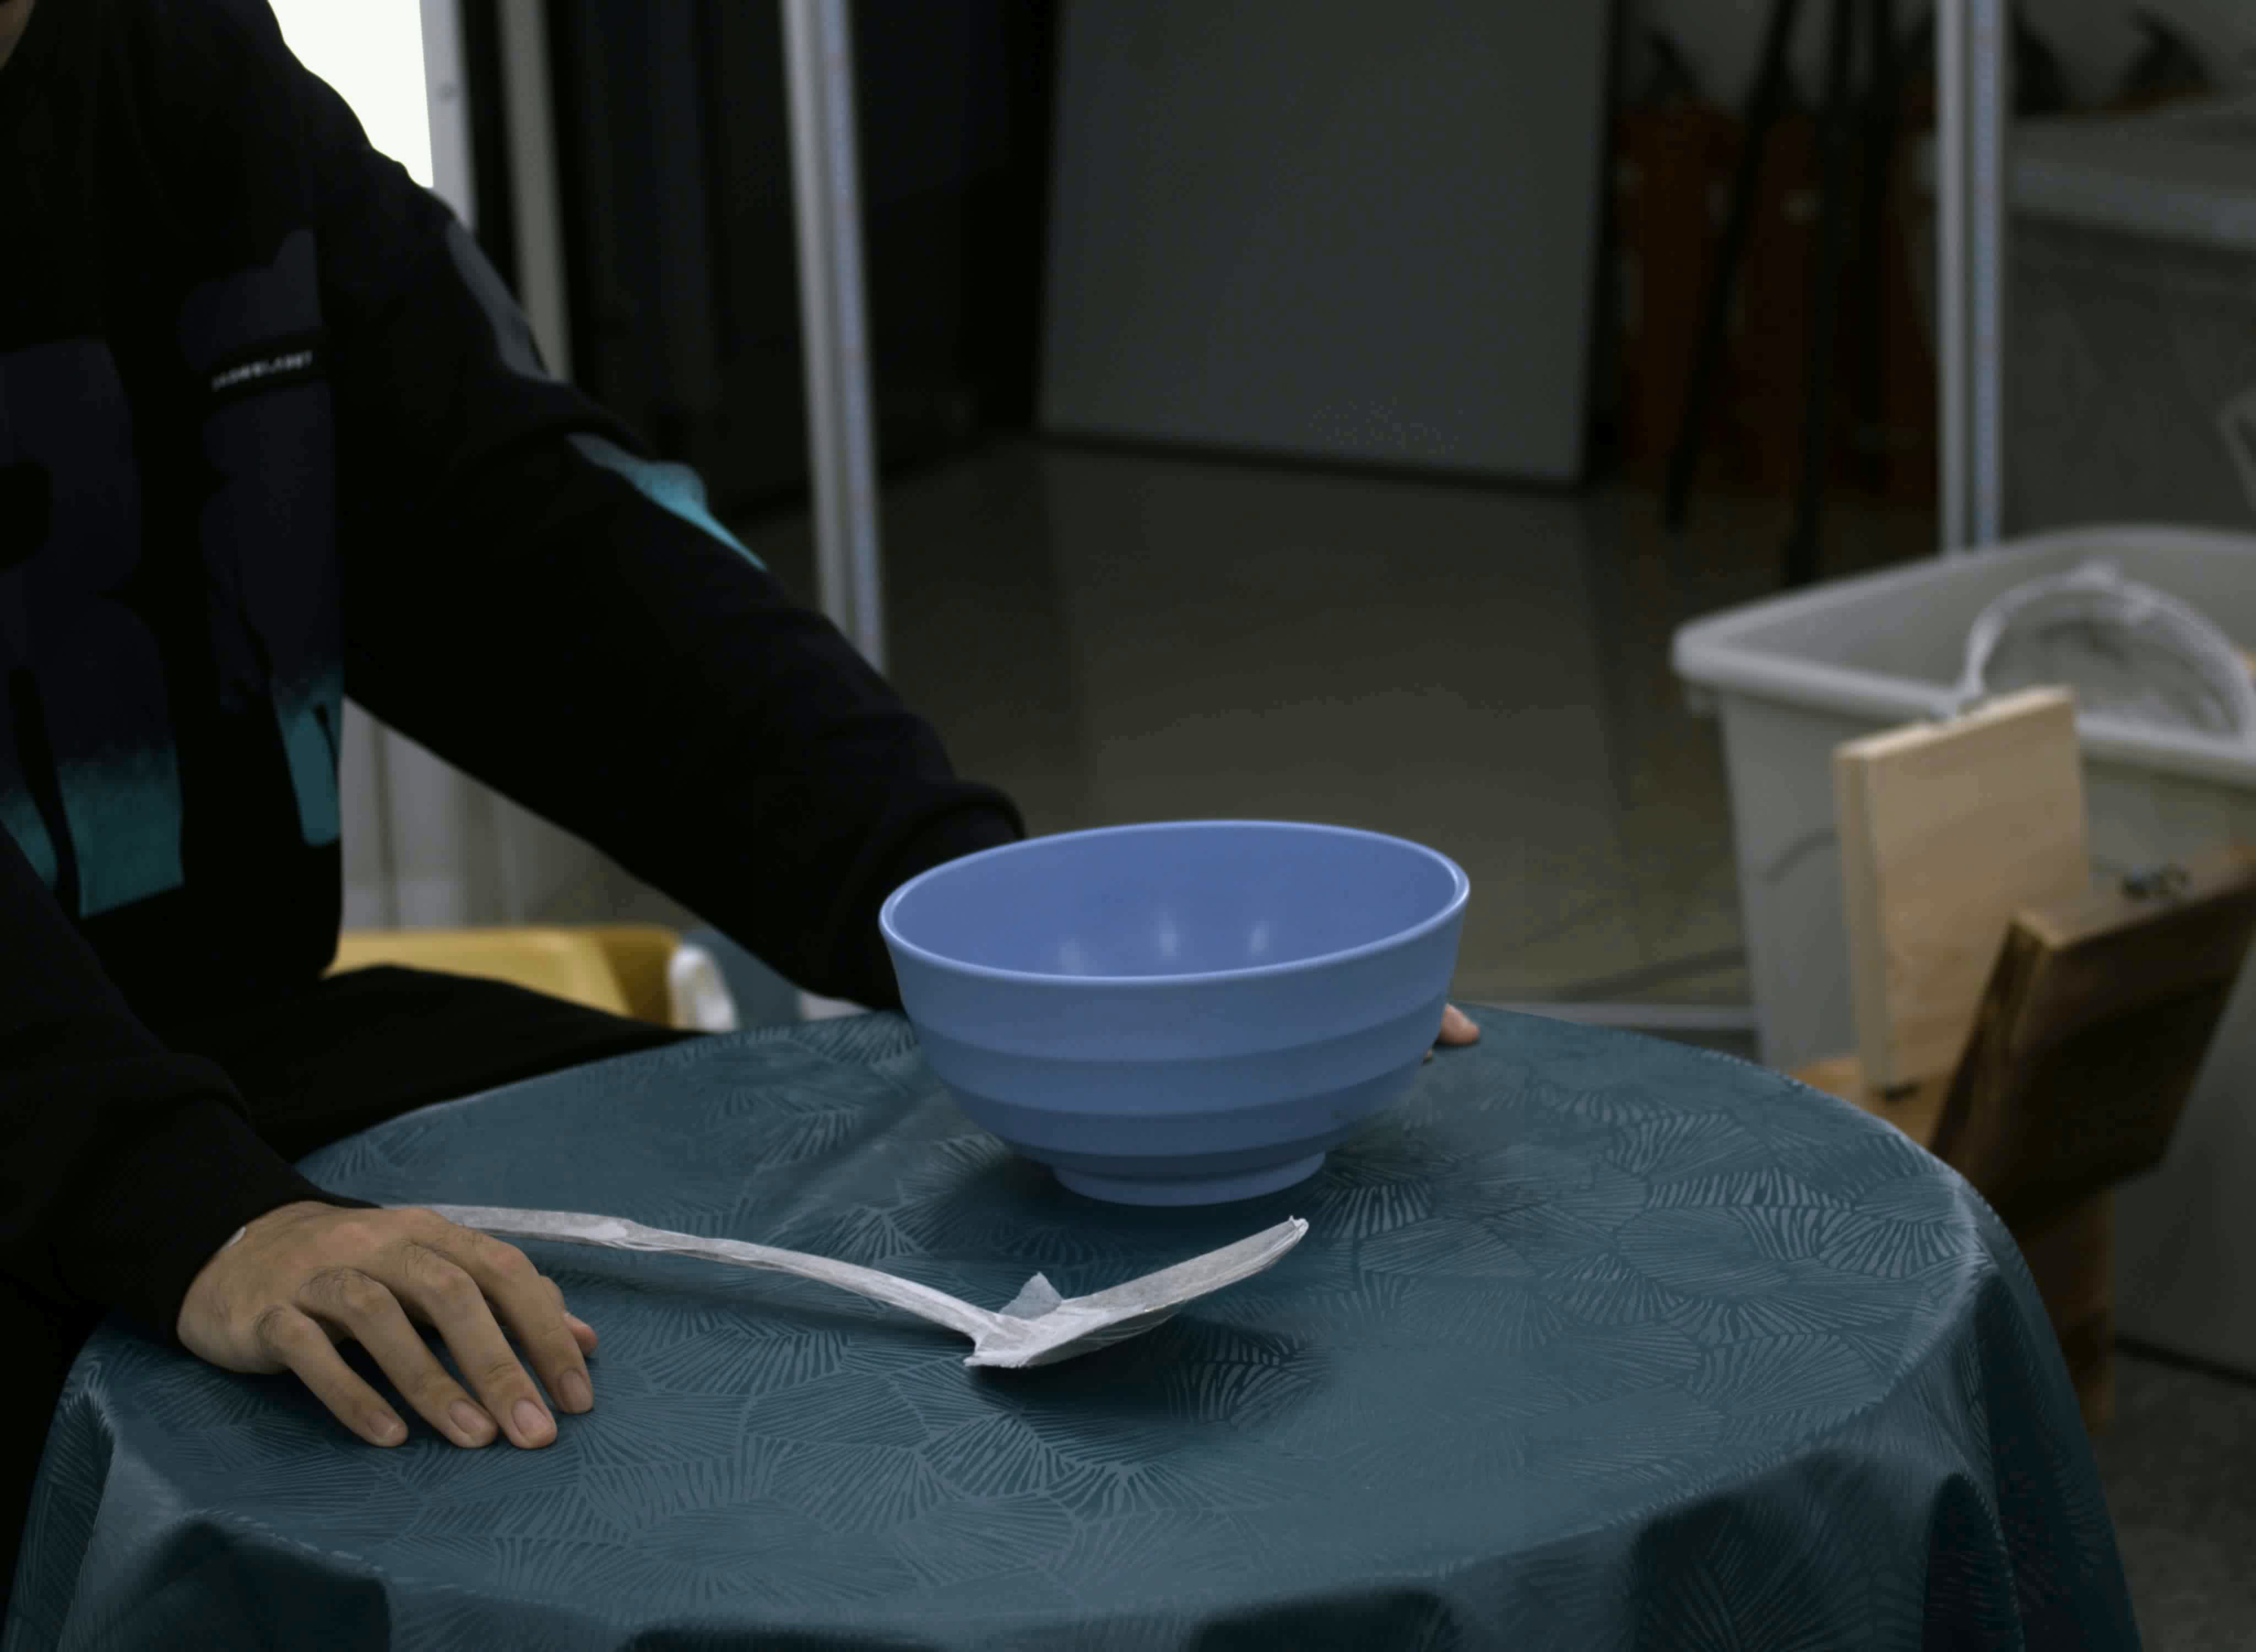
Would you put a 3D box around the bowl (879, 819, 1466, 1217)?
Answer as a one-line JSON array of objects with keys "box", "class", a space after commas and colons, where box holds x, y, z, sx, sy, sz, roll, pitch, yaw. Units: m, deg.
[{"box": [0.018, 0.069, 1.783, 0.194, 0.096, 0.197, -6, 14, 0], "class": "bowl"}]

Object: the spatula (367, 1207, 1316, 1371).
[{"box": [-0.108, 0.132, 1.681, 0.367, 0.045, 0.097, 6, 19, 34], "class": "spatula"}]
